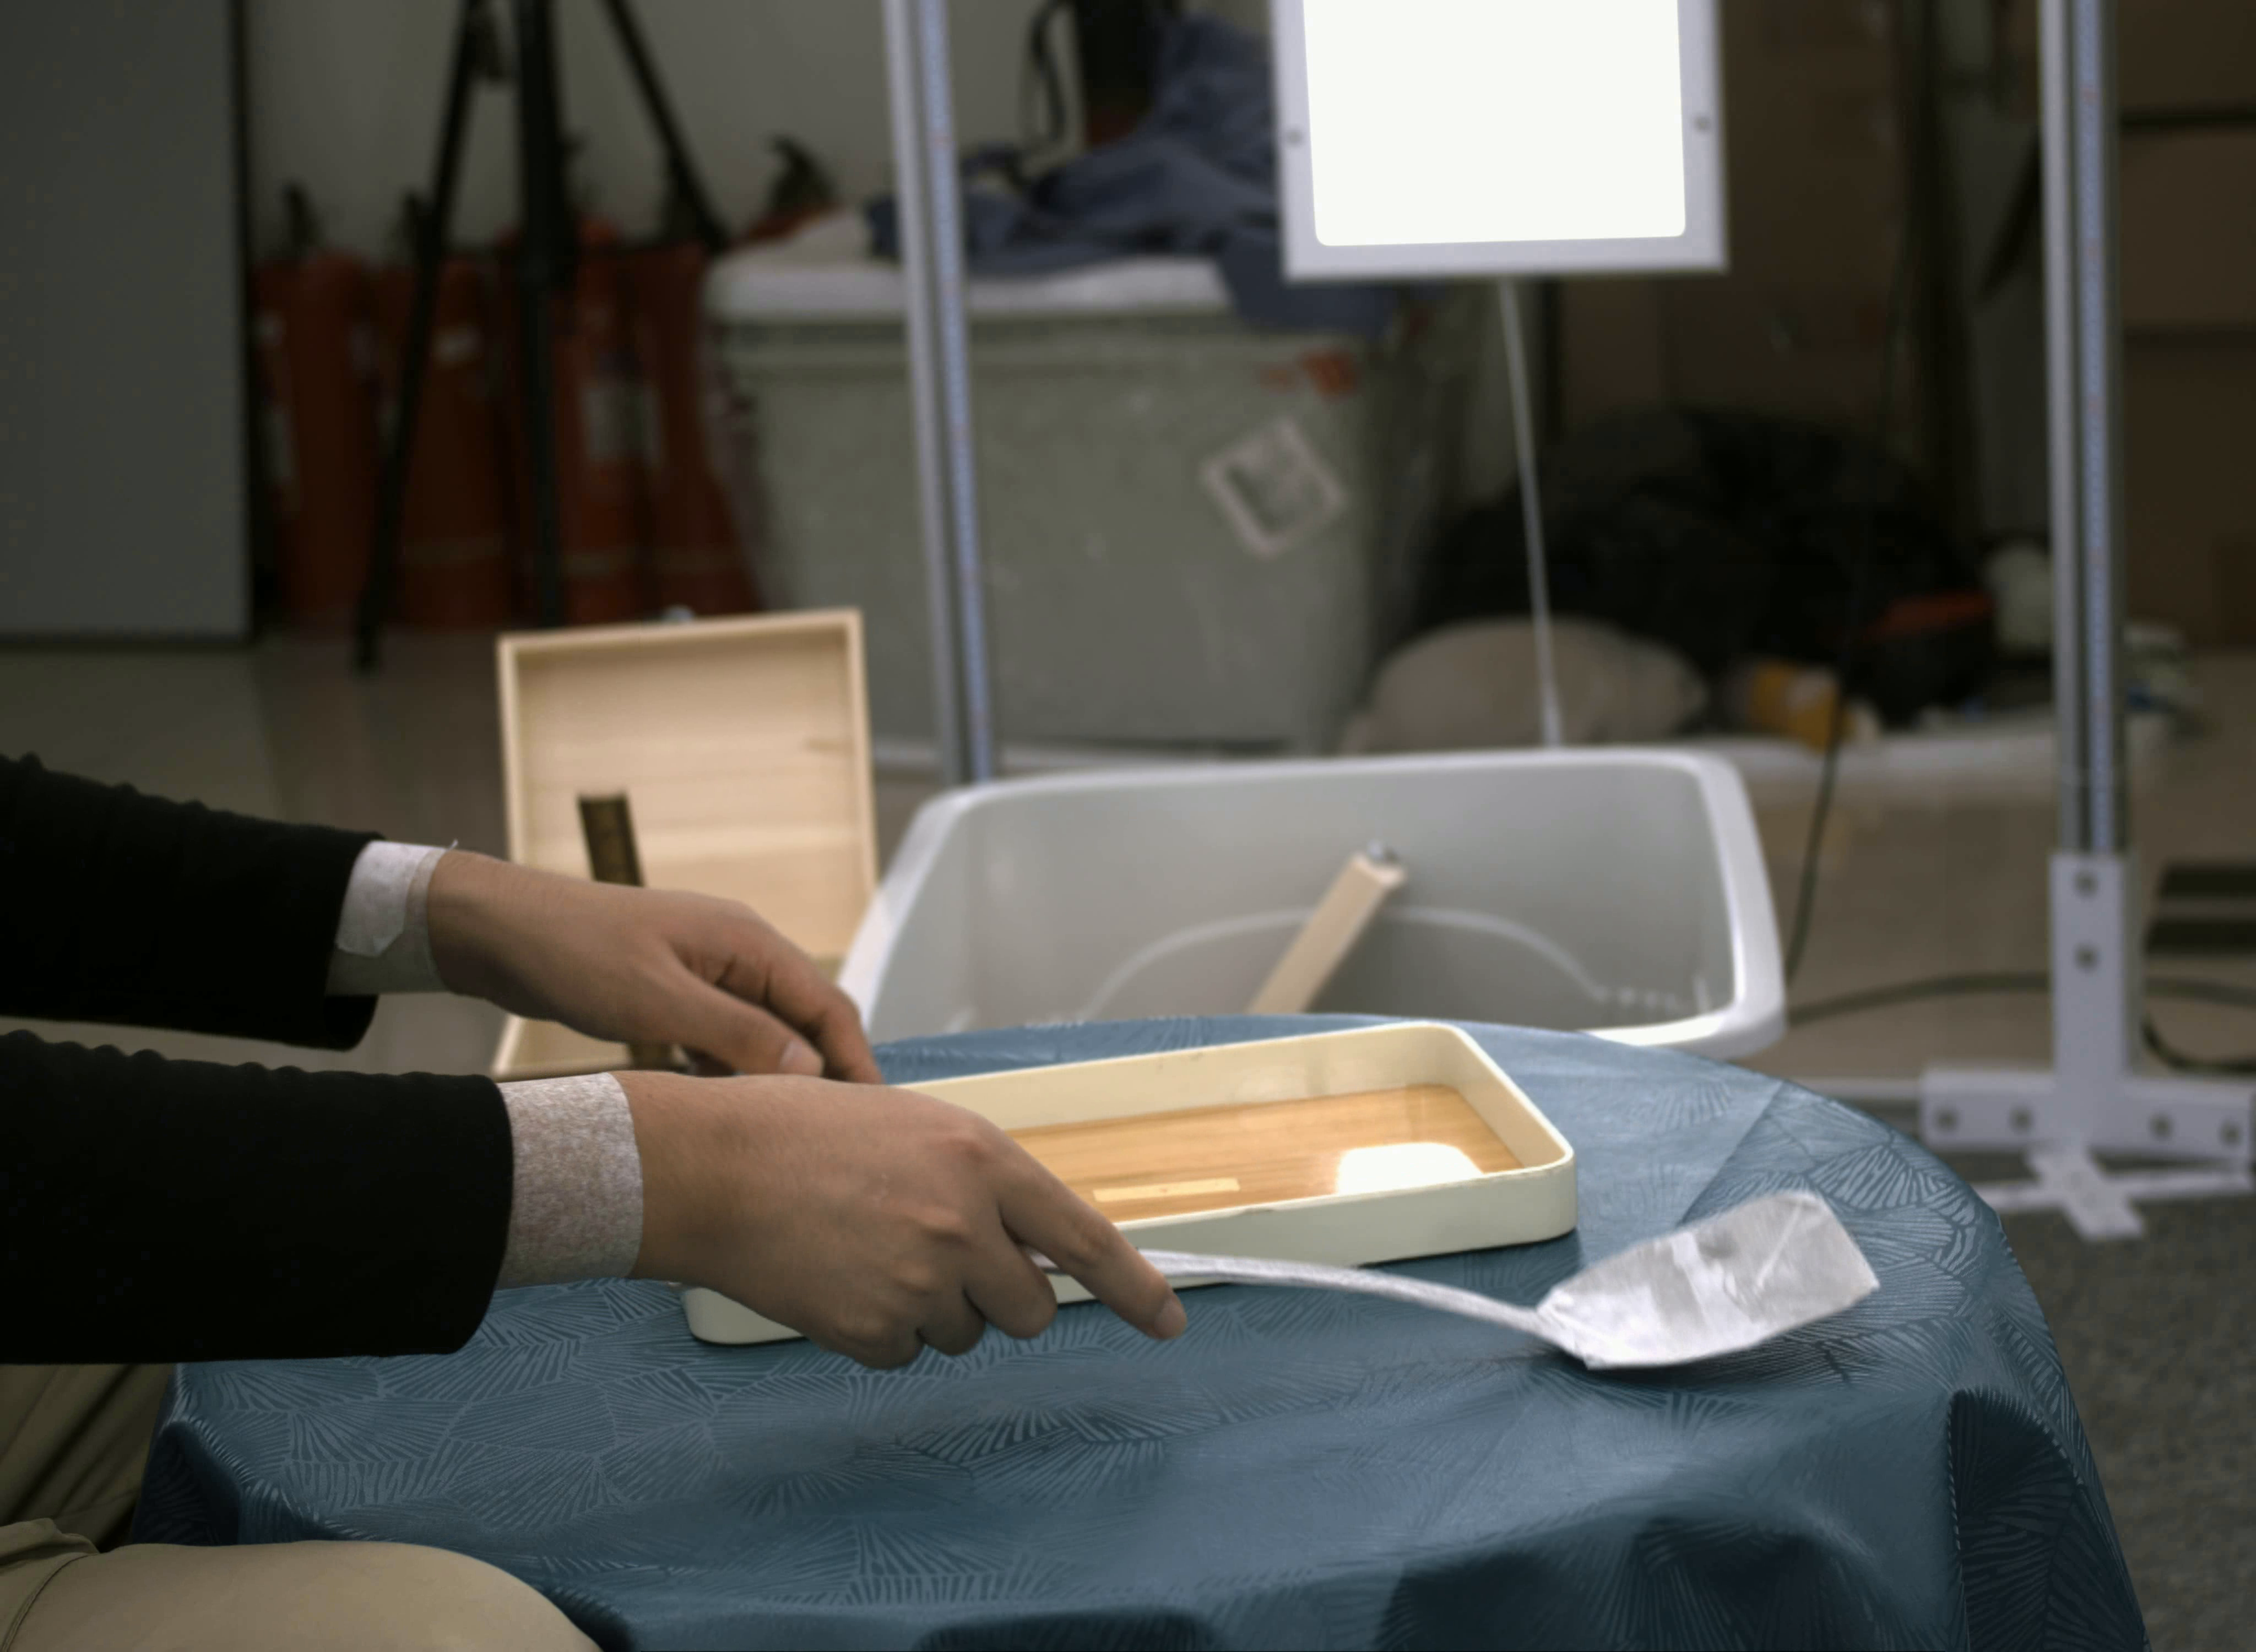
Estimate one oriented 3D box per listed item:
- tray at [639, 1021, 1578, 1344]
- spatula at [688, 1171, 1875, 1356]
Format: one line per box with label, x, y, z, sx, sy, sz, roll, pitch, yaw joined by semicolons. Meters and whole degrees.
tray;-0.011;0.119;1.876;0.298;0.027;0.192;-7;14;-7
spatula;0.048;0.131;1.687;0.362;0.045;0.099;4;19;-5
